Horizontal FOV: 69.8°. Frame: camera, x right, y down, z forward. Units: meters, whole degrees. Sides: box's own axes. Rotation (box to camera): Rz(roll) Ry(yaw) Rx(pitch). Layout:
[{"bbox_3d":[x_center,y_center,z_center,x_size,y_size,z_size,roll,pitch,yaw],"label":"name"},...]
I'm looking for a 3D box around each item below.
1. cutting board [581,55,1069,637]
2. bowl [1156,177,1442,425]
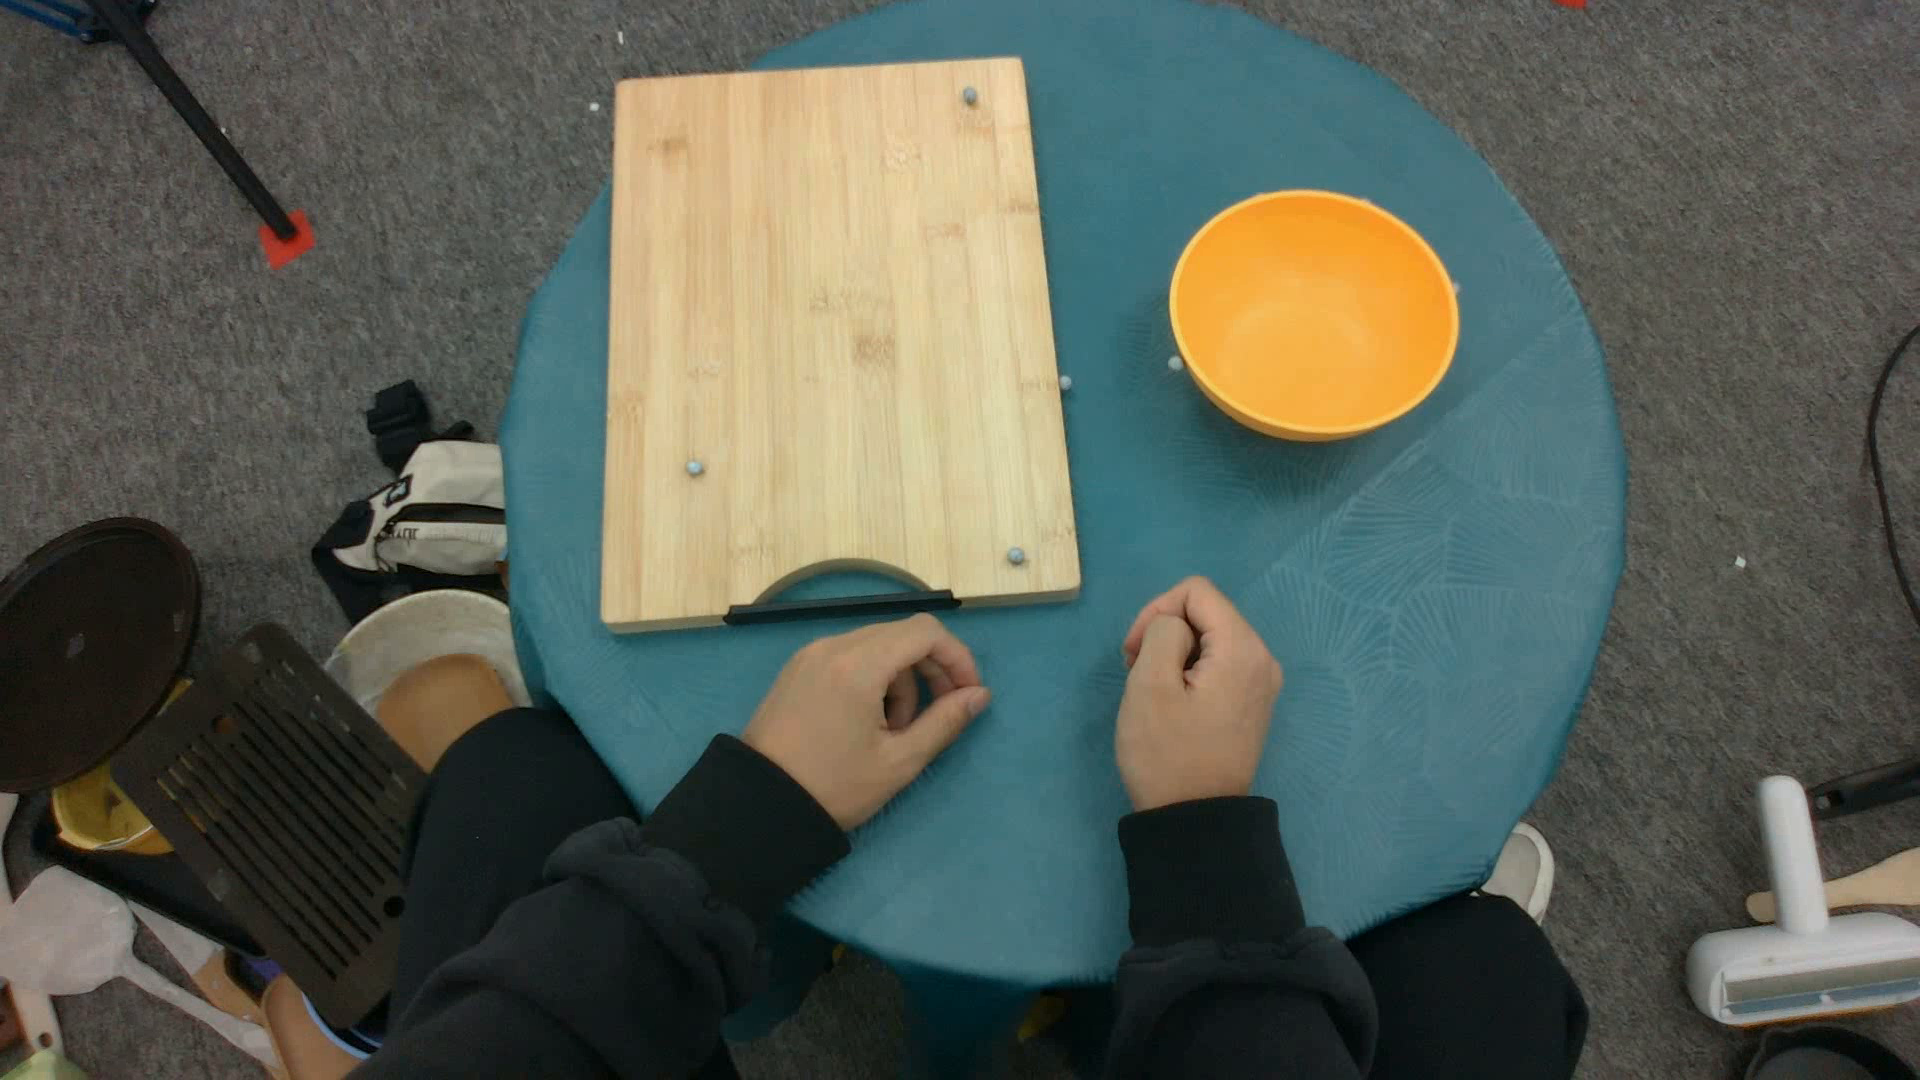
[{"bbox_3d":[-0.079,-0.121,0.754,0.251,0.023,0.349,-5,67,-2],"label":"cutting board"},{"bbox_3d":[0.175,-0.117,0.731,0.145,0.060,0.146,-1,68,2],"label":"bowl"}]
